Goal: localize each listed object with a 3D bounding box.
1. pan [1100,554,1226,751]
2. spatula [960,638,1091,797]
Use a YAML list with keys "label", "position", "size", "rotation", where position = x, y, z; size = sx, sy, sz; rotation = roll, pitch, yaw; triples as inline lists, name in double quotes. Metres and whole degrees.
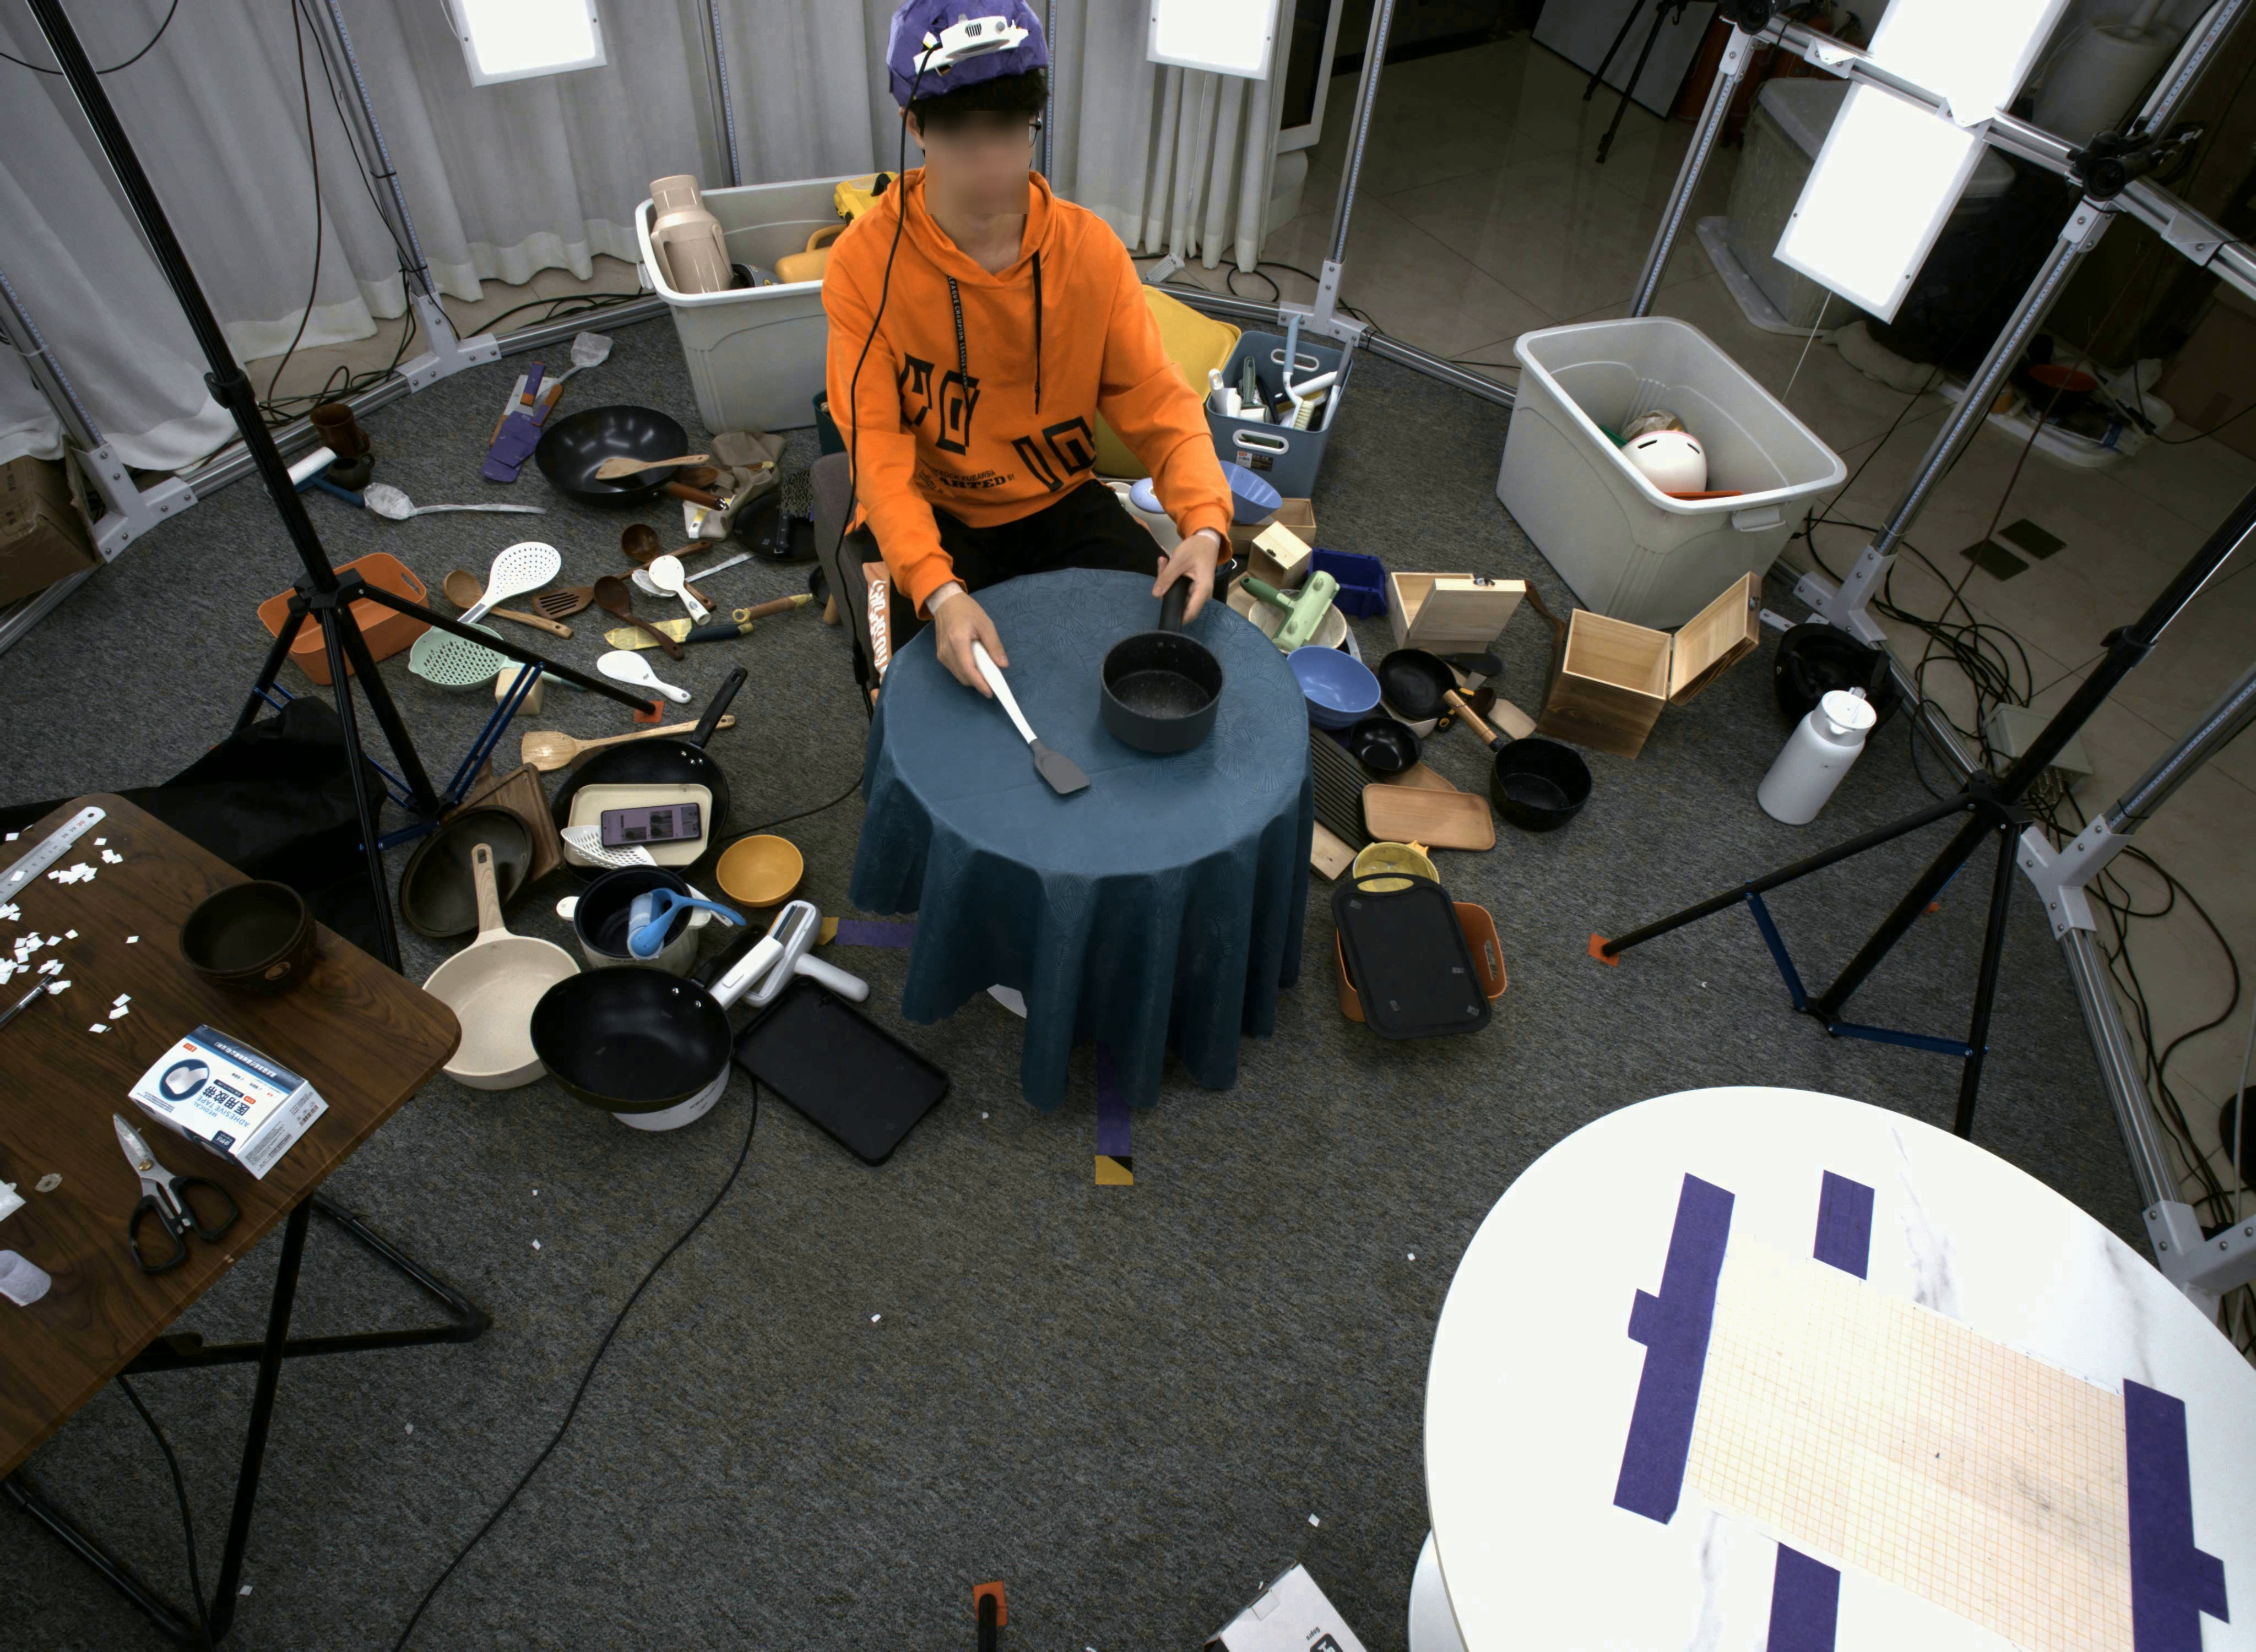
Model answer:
- label: "pan"
  position: [0.057, -0.249, 1.817]
  size: [0.172, 0.084, 0.336]
  rotation: [10, 51, 3]
- label: "spatula"
  position: [-0.147, -0.147, 1.757]
  size: [0.059, 0.031, 0.293]
  rotation: [-18, 60, -33]
